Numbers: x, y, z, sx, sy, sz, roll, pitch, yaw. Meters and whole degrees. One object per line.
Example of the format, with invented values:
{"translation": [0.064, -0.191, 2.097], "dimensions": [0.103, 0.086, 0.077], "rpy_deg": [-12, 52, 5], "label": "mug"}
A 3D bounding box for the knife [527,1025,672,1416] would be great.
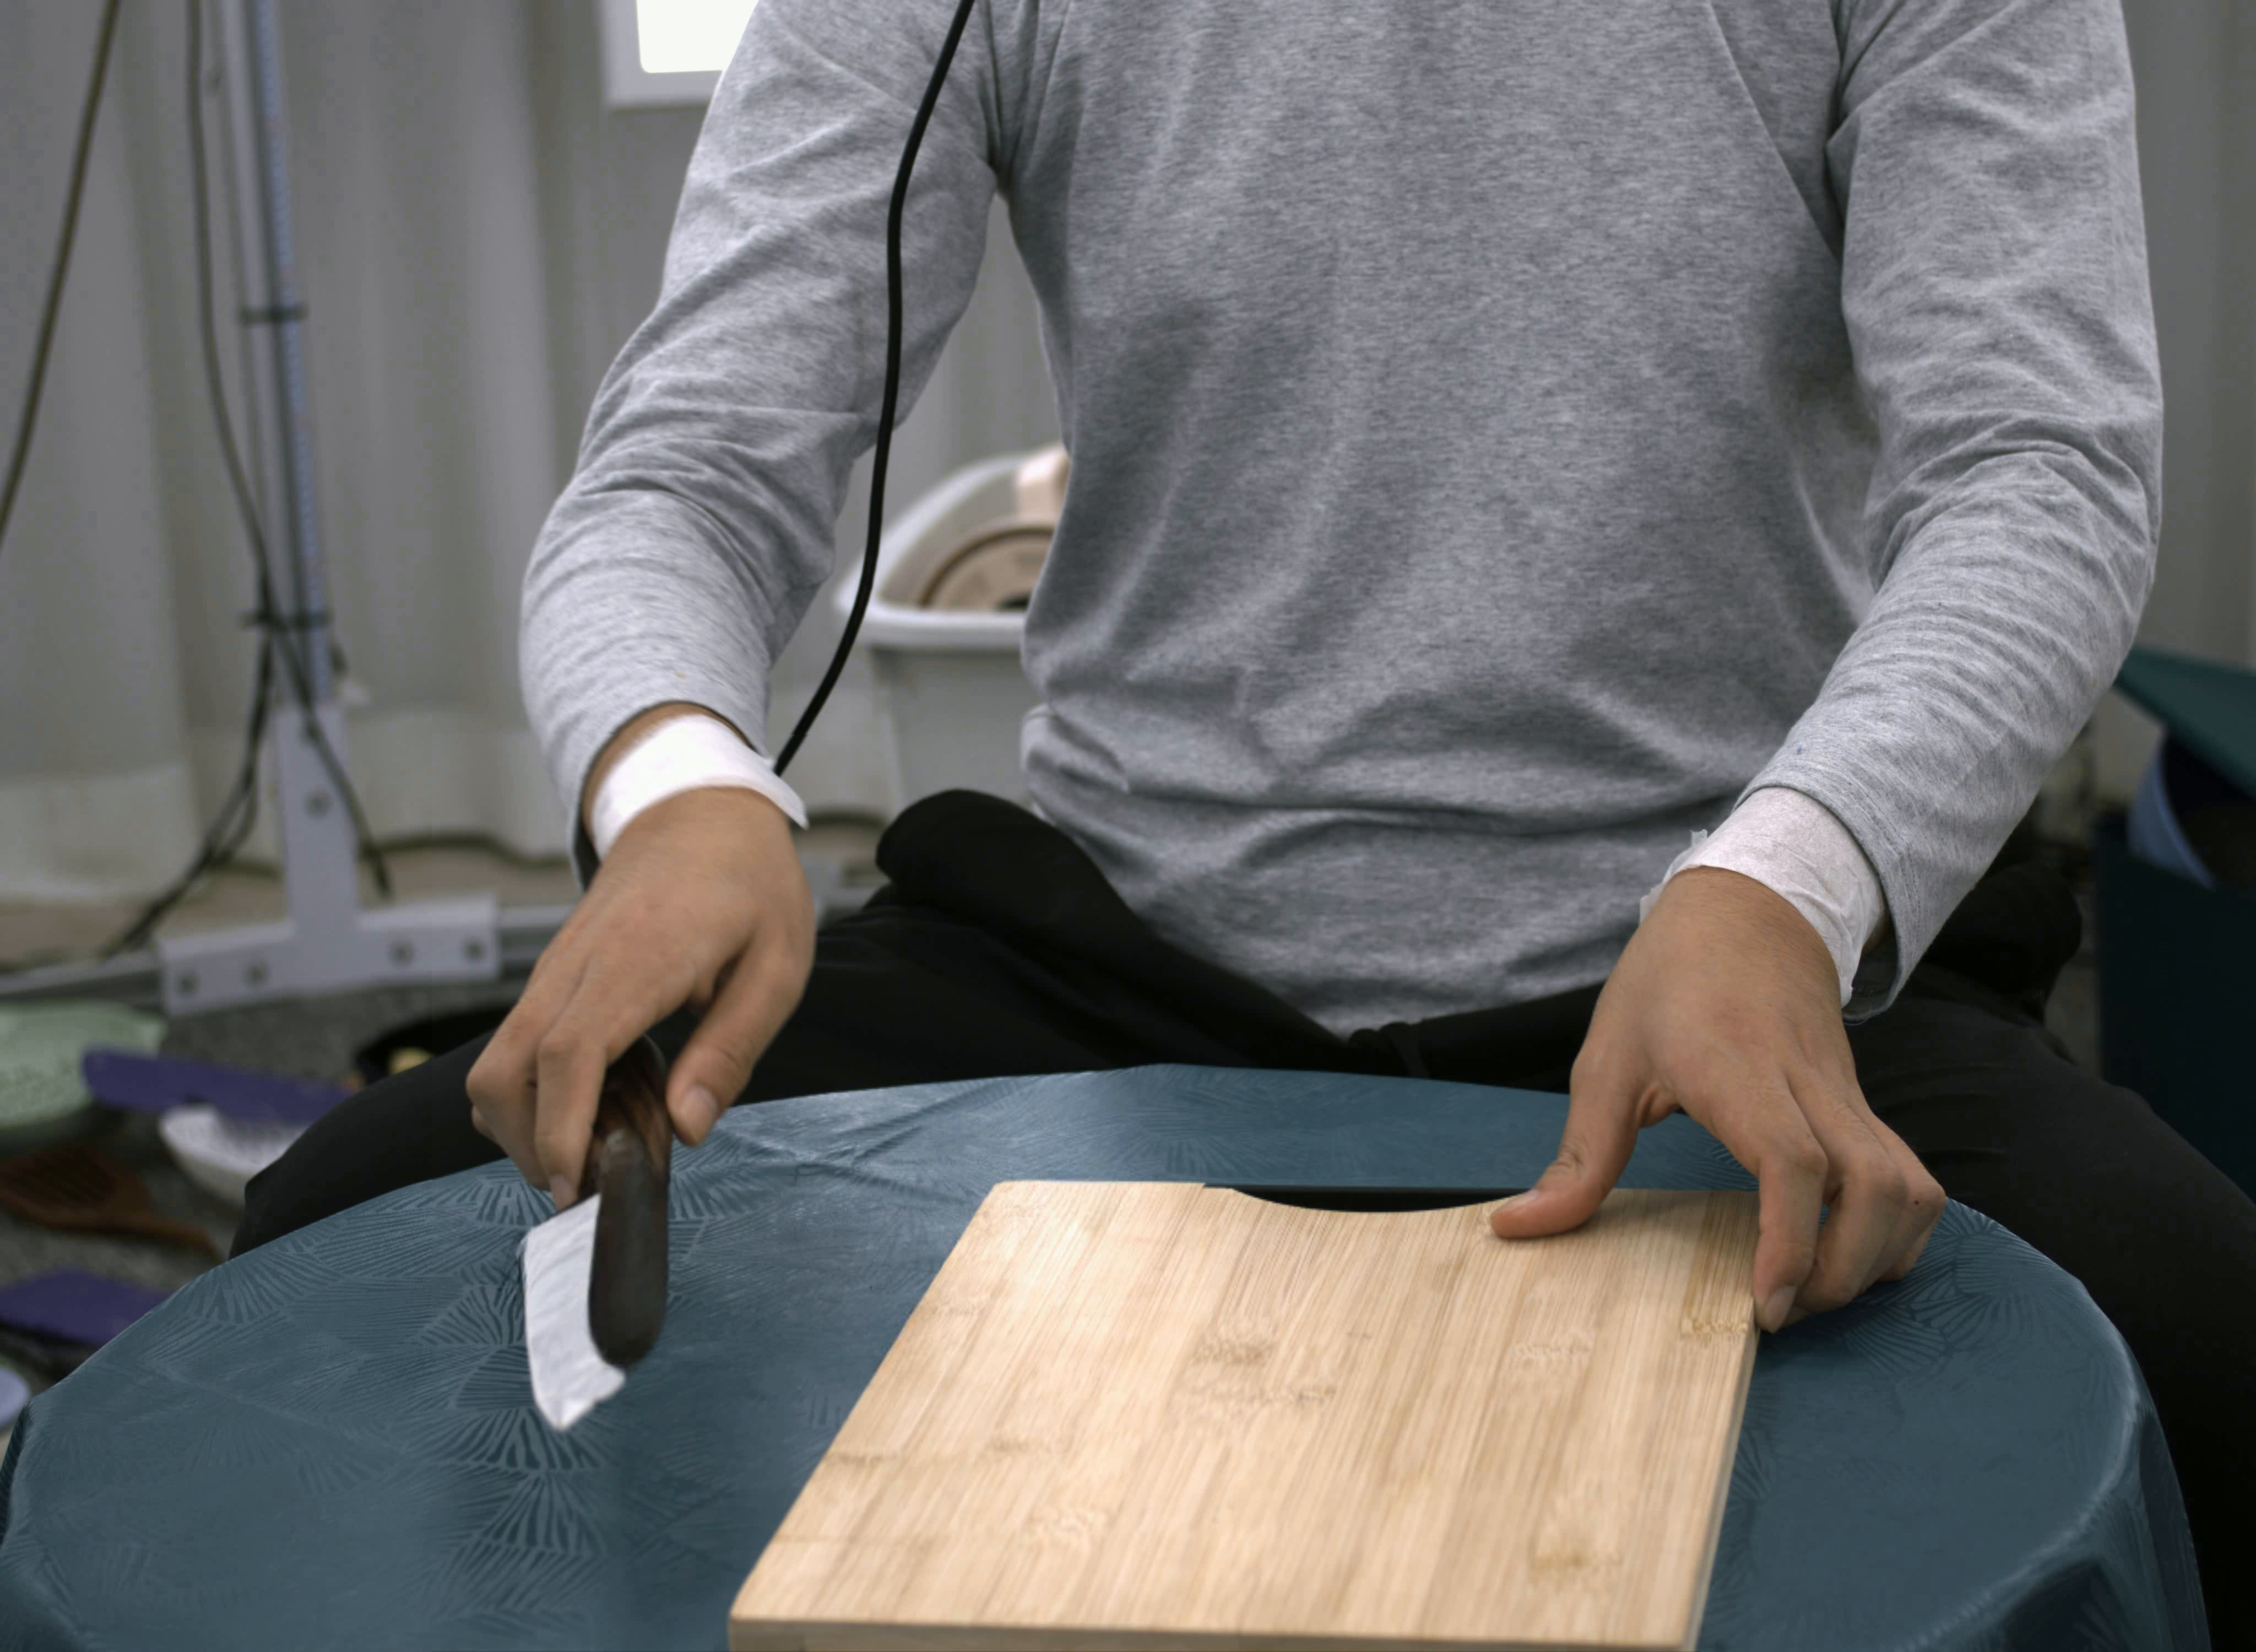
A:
{"translation": [-0.147, 0.109, 1.532], "dimensions": [0.050, 0.020, 0.291], "rpy_deg": [-30, 15, 5], "label": "knife"}

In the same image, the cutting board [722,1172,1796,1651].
{"translation": [0.049, 0.161, 1.503], "dimensions": [0.250, 0.023, 0.350], "rpy_deg": [0, 15, 10], "label": "cutting board"}
